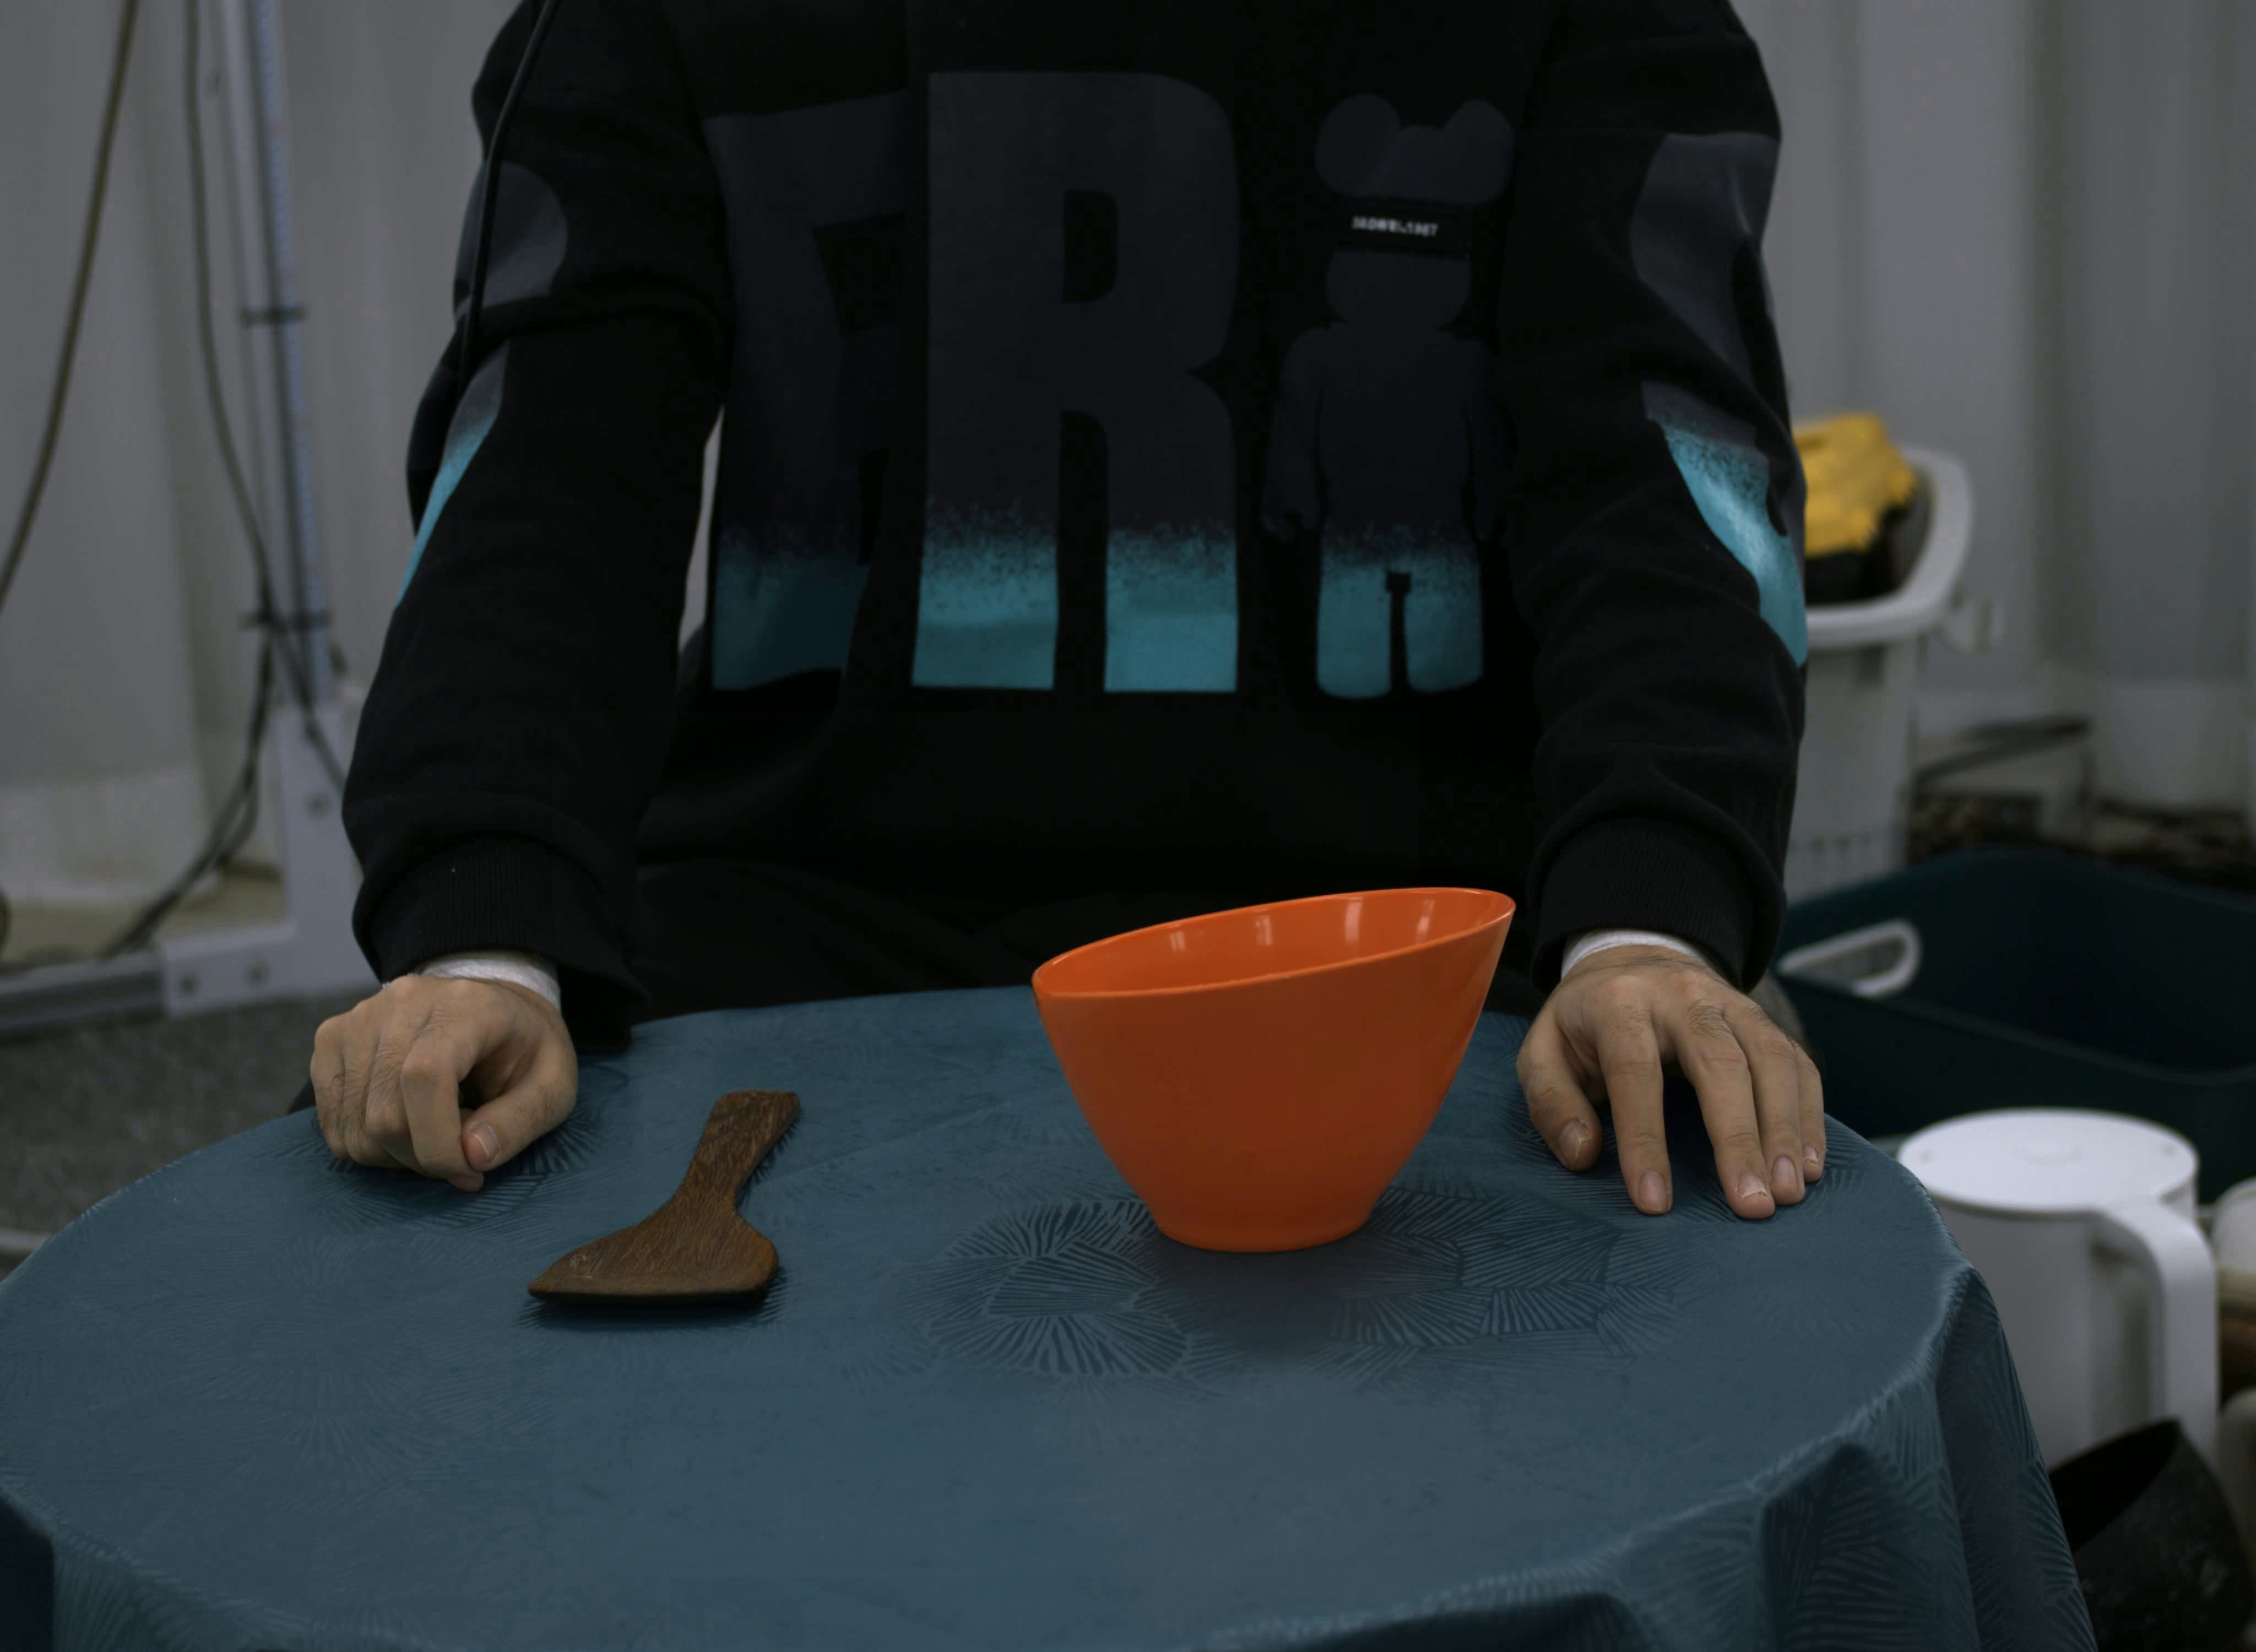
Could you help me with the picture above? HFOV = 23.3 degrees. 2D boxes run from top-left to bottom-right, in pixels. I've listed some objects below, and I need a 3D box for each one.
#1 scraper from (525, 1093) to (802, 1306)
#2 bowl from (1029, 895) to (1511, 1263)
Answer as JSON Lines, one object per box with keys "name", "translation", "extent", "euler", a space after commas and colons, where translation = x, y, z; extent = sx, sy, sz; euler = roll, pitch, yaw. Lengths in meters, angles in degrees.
{"name": "scraper", "translation": [-0.132, 0.117, 1.717], "extent": [0.075, 0.011, 0.212], "euler": [0, 14, 7]}
{"name": "bowl", "translation": [0.045, 0.076, 1.662], "extent": [0.147, 0.104, 0.149], "euler": [-4, 13, 1]}
